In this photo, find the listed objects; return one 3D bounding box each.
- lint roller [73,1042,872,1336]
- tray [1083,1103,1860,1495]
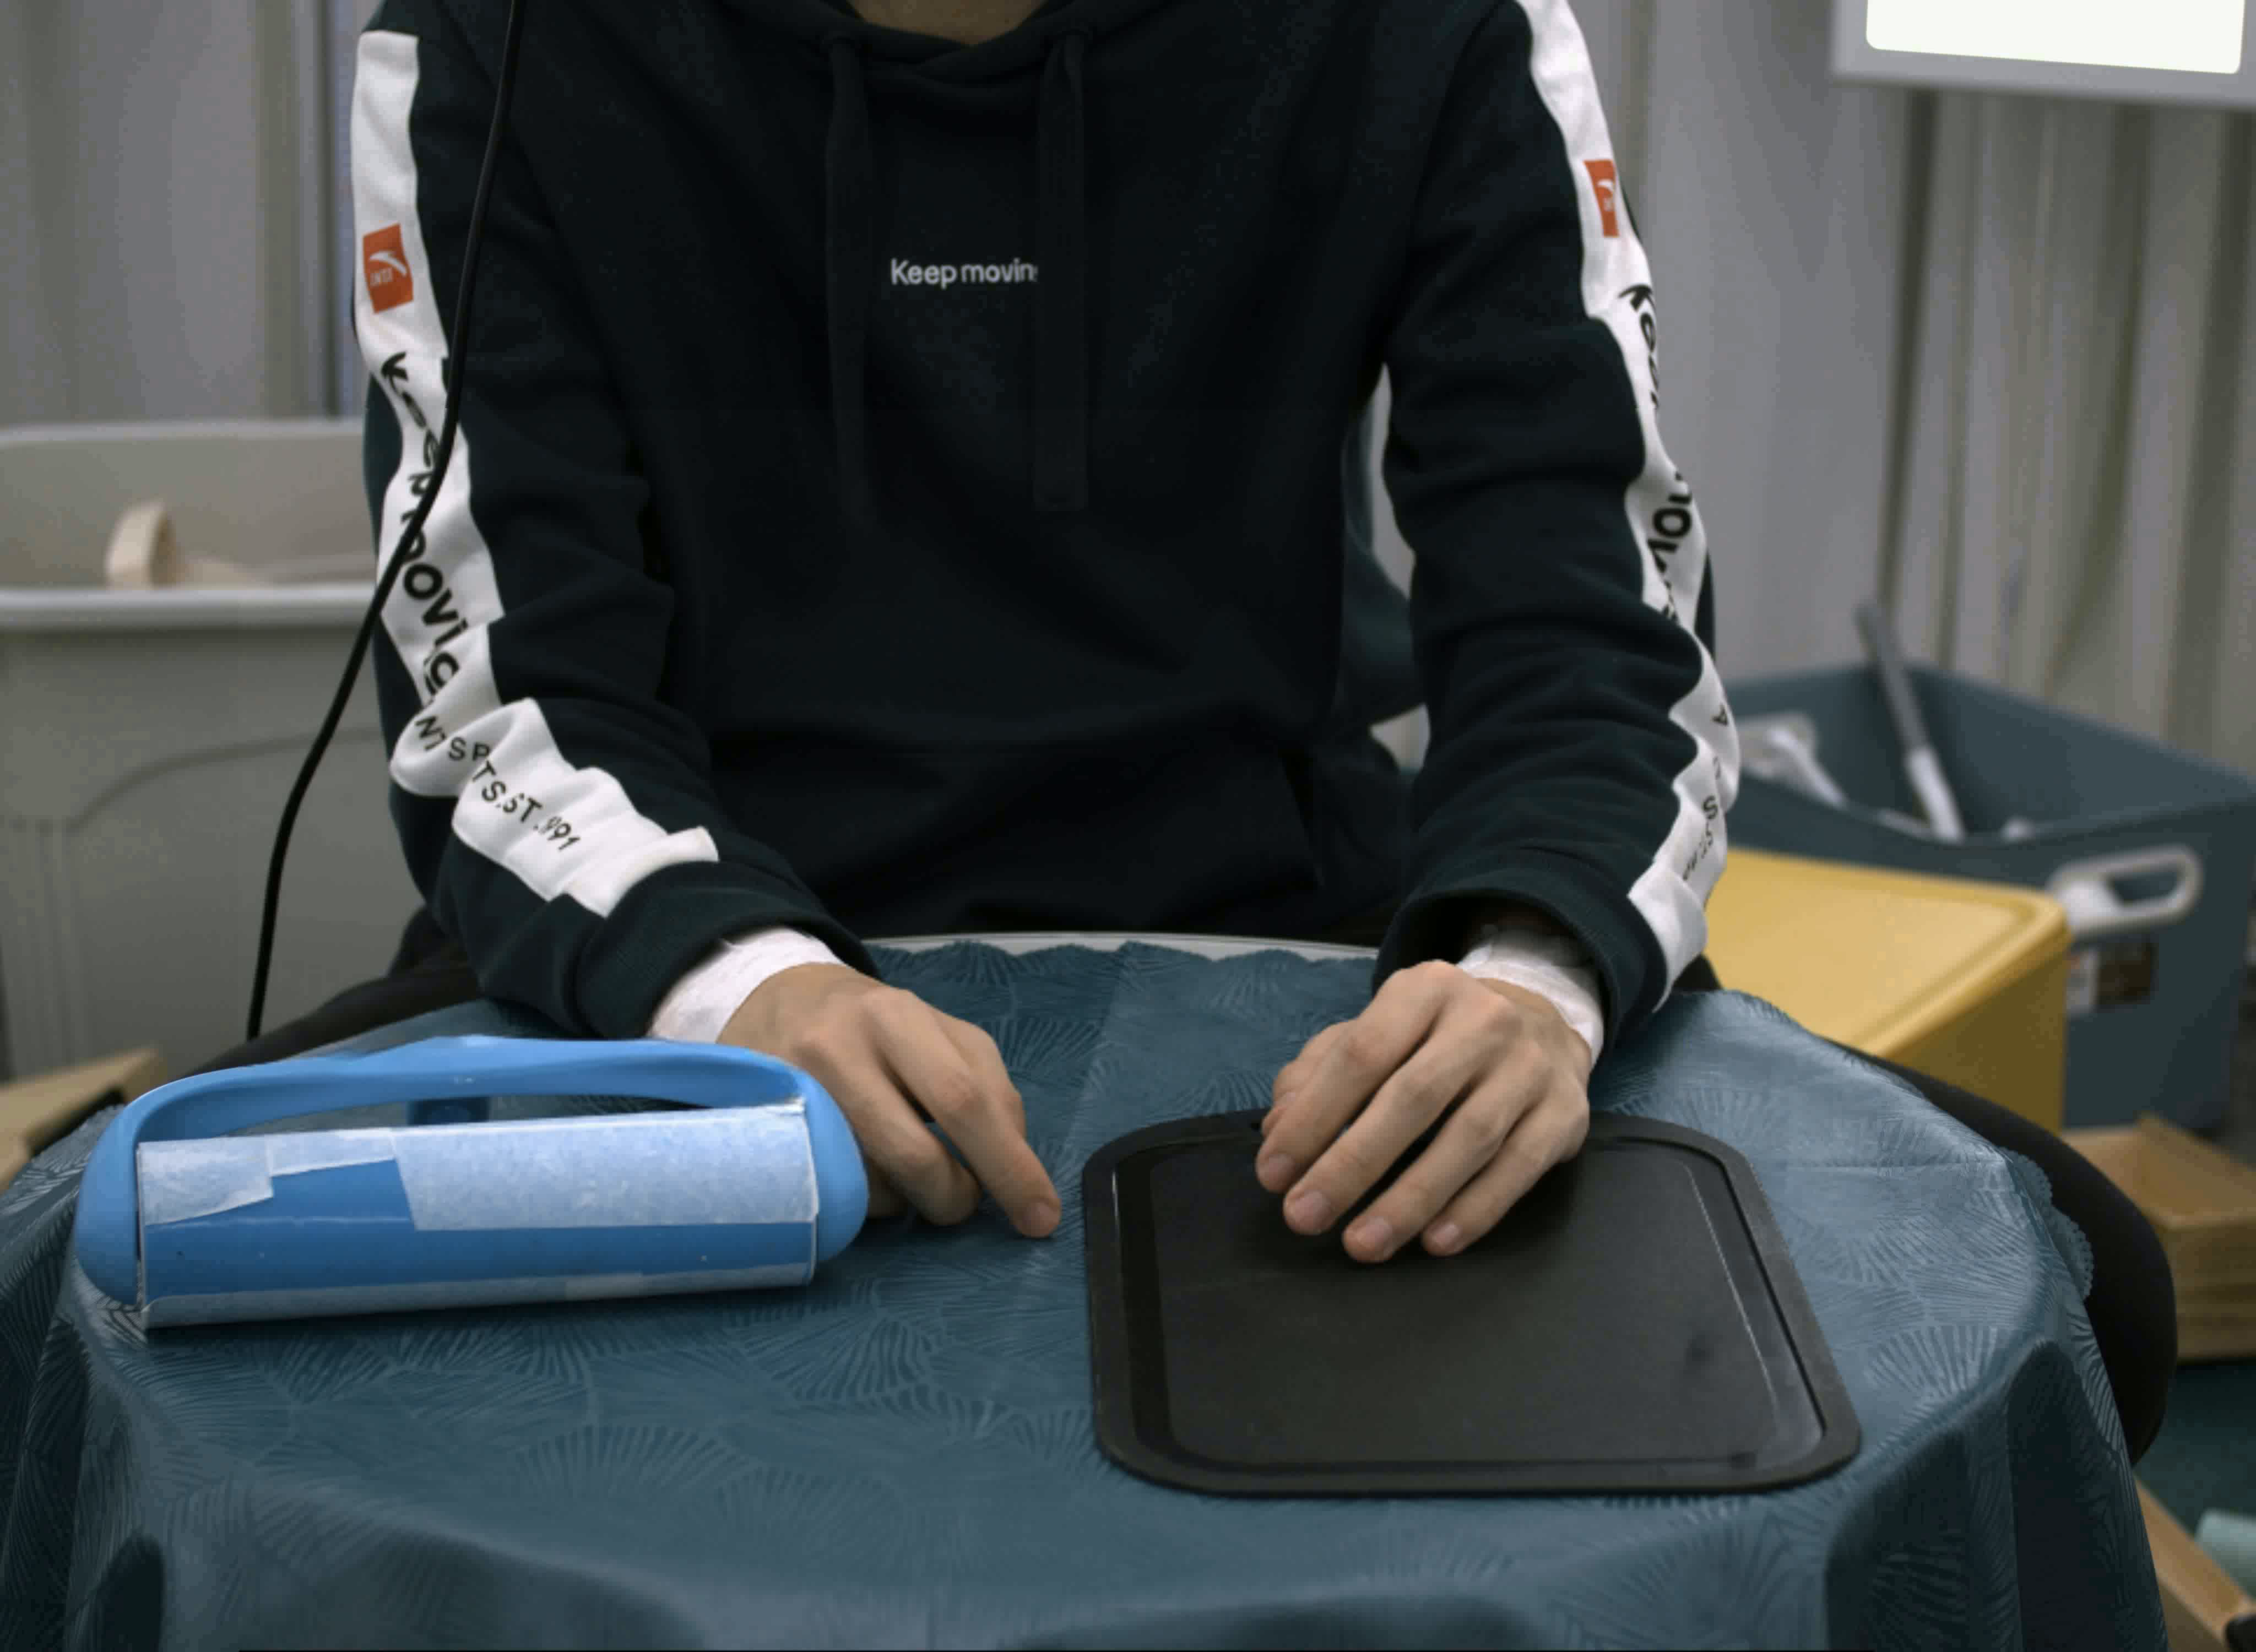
[{"bbox_3d":[-0.201,0.095,1.569,0.229,0.068,0.178,-5,17,-13],"label":"lint roller"},{"bbox_3d":[0.092,0.131,1.541,0.210,0.010,0.323,0,15,-1],"label":"tray"}]
